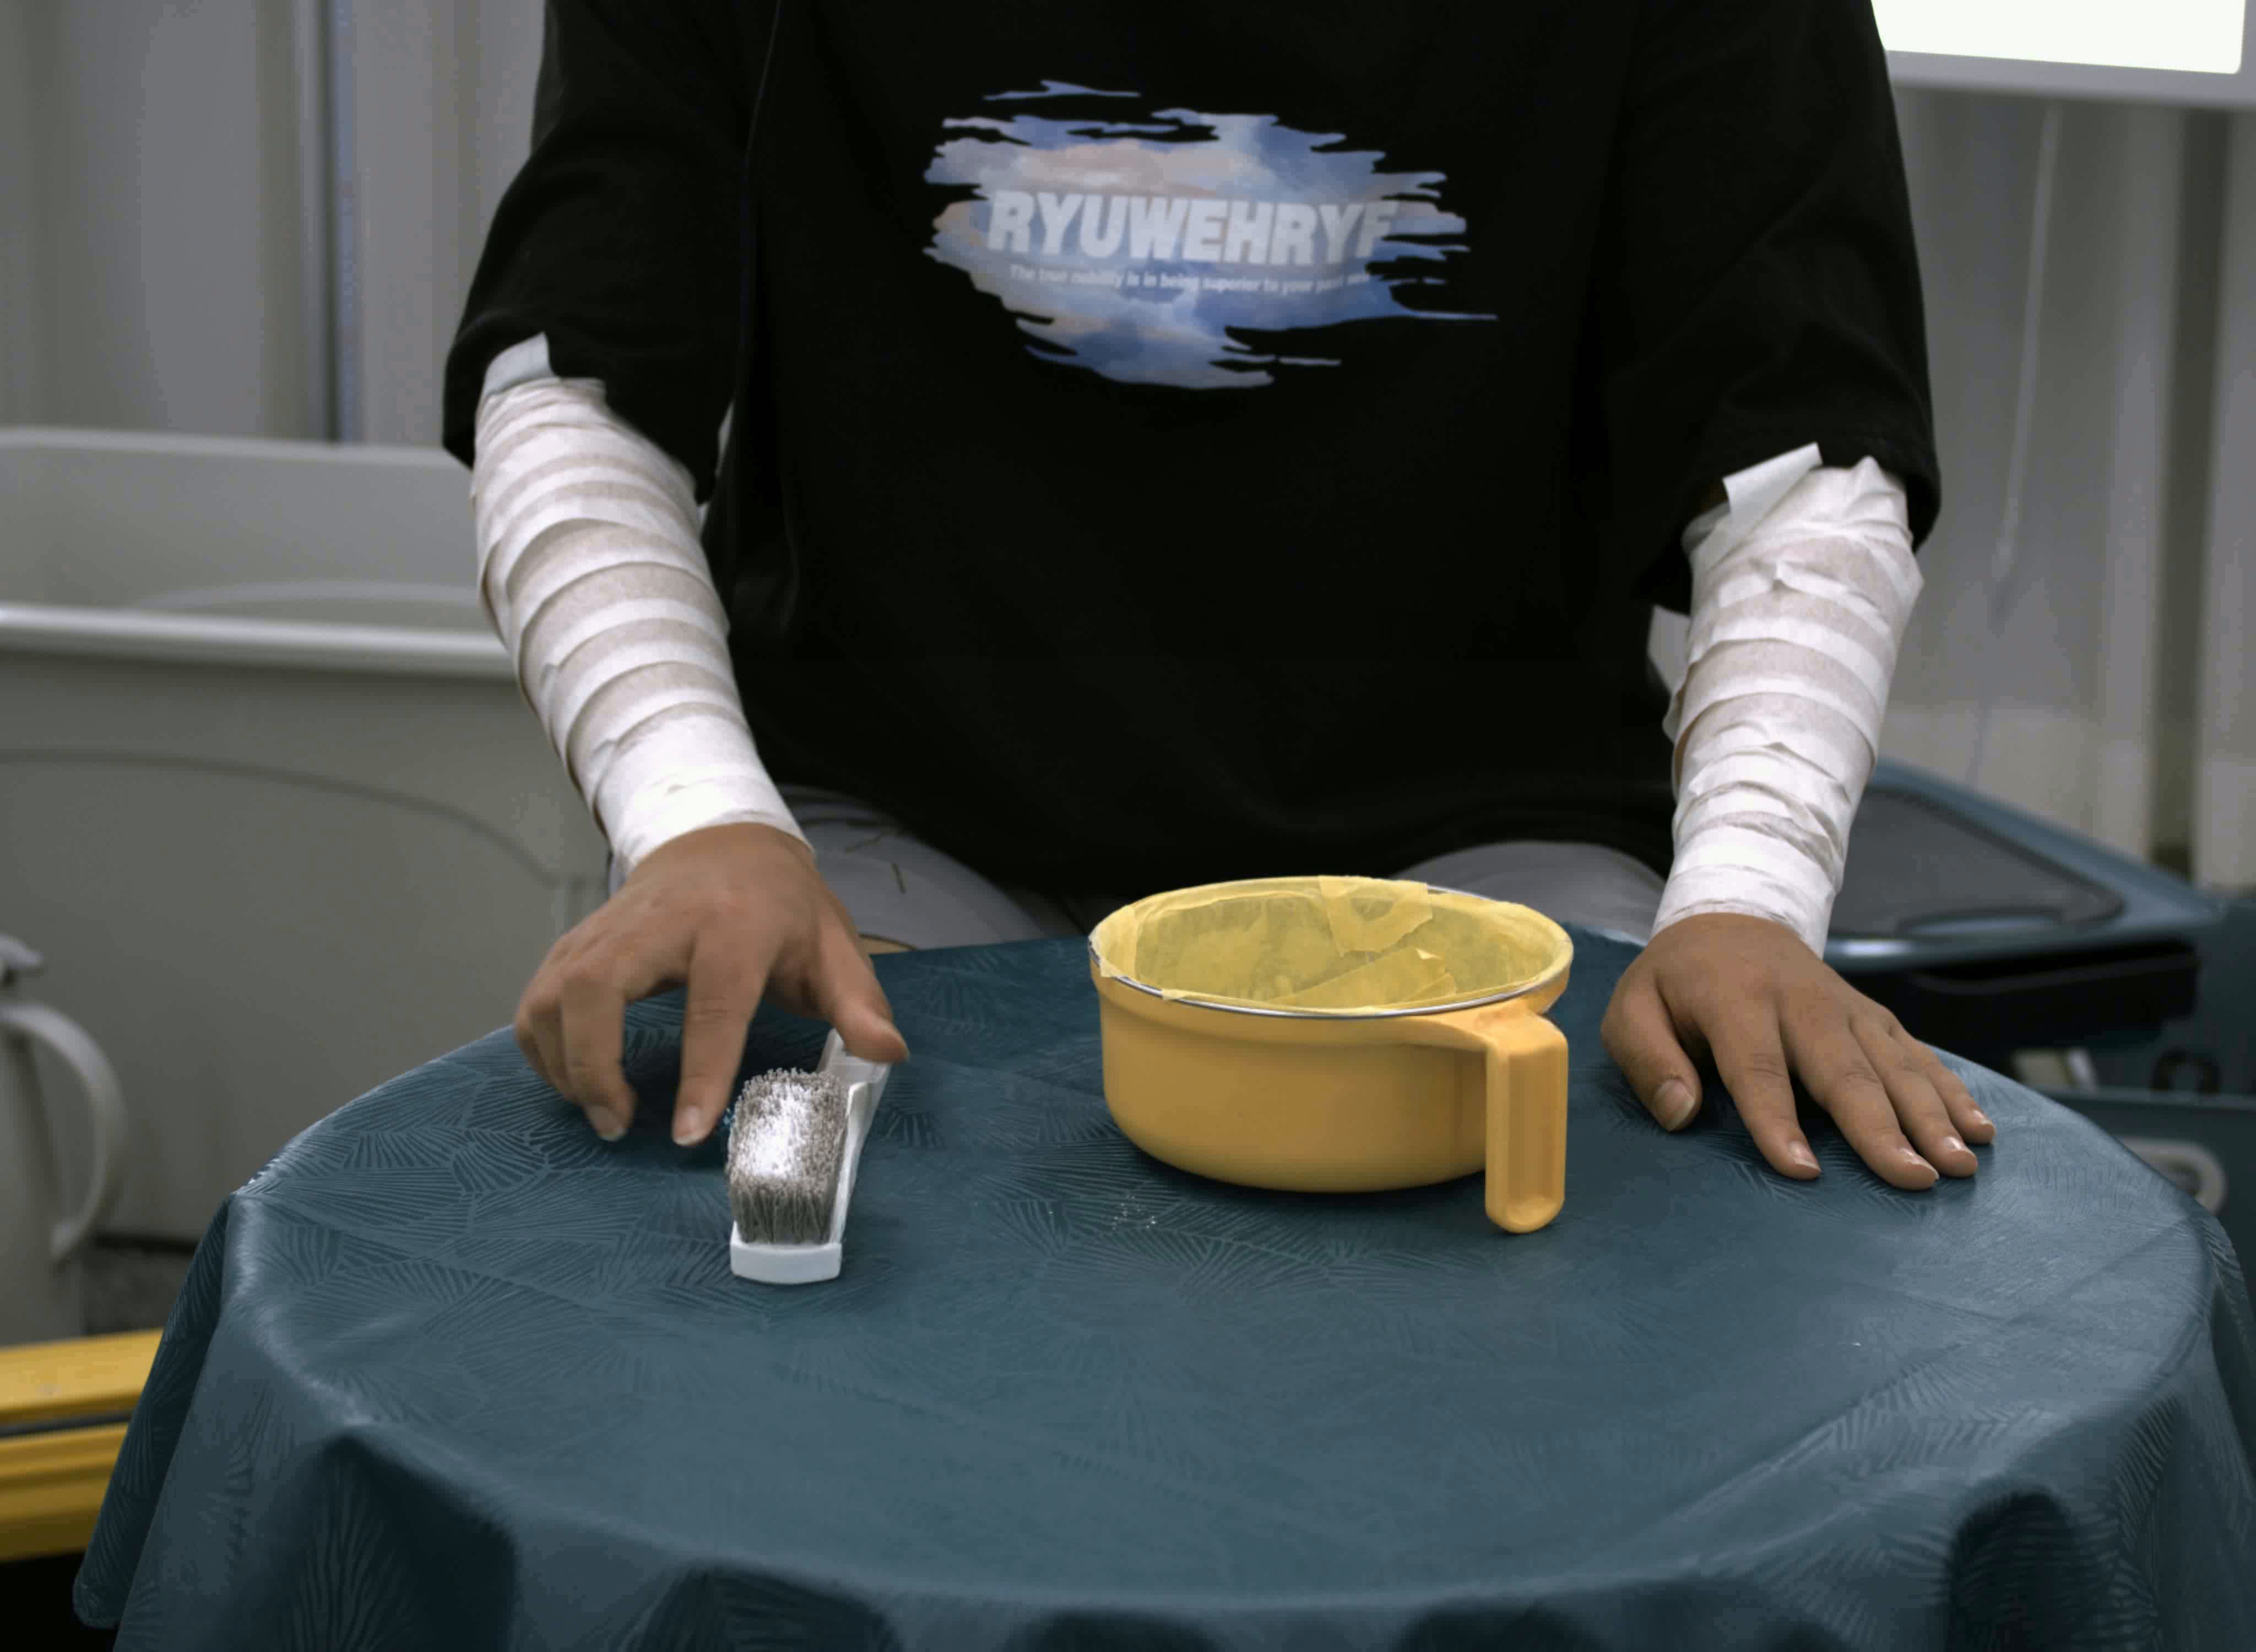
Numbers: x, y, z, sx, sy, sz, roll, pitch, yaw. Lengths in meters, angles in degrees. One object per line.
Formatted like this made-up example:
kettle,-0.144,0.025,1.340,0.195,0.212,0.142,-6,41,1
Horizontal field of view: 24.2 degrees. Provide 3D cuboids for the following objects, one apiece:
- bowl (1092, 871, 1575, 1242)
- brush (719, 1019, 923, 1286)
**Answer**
bowl,0.070,0.070,1.650,0.154,0.075,0.177,-6,17,-38
brush,-0.092,0.081,1.638,0.034,0.050,0.243,1,16,6
